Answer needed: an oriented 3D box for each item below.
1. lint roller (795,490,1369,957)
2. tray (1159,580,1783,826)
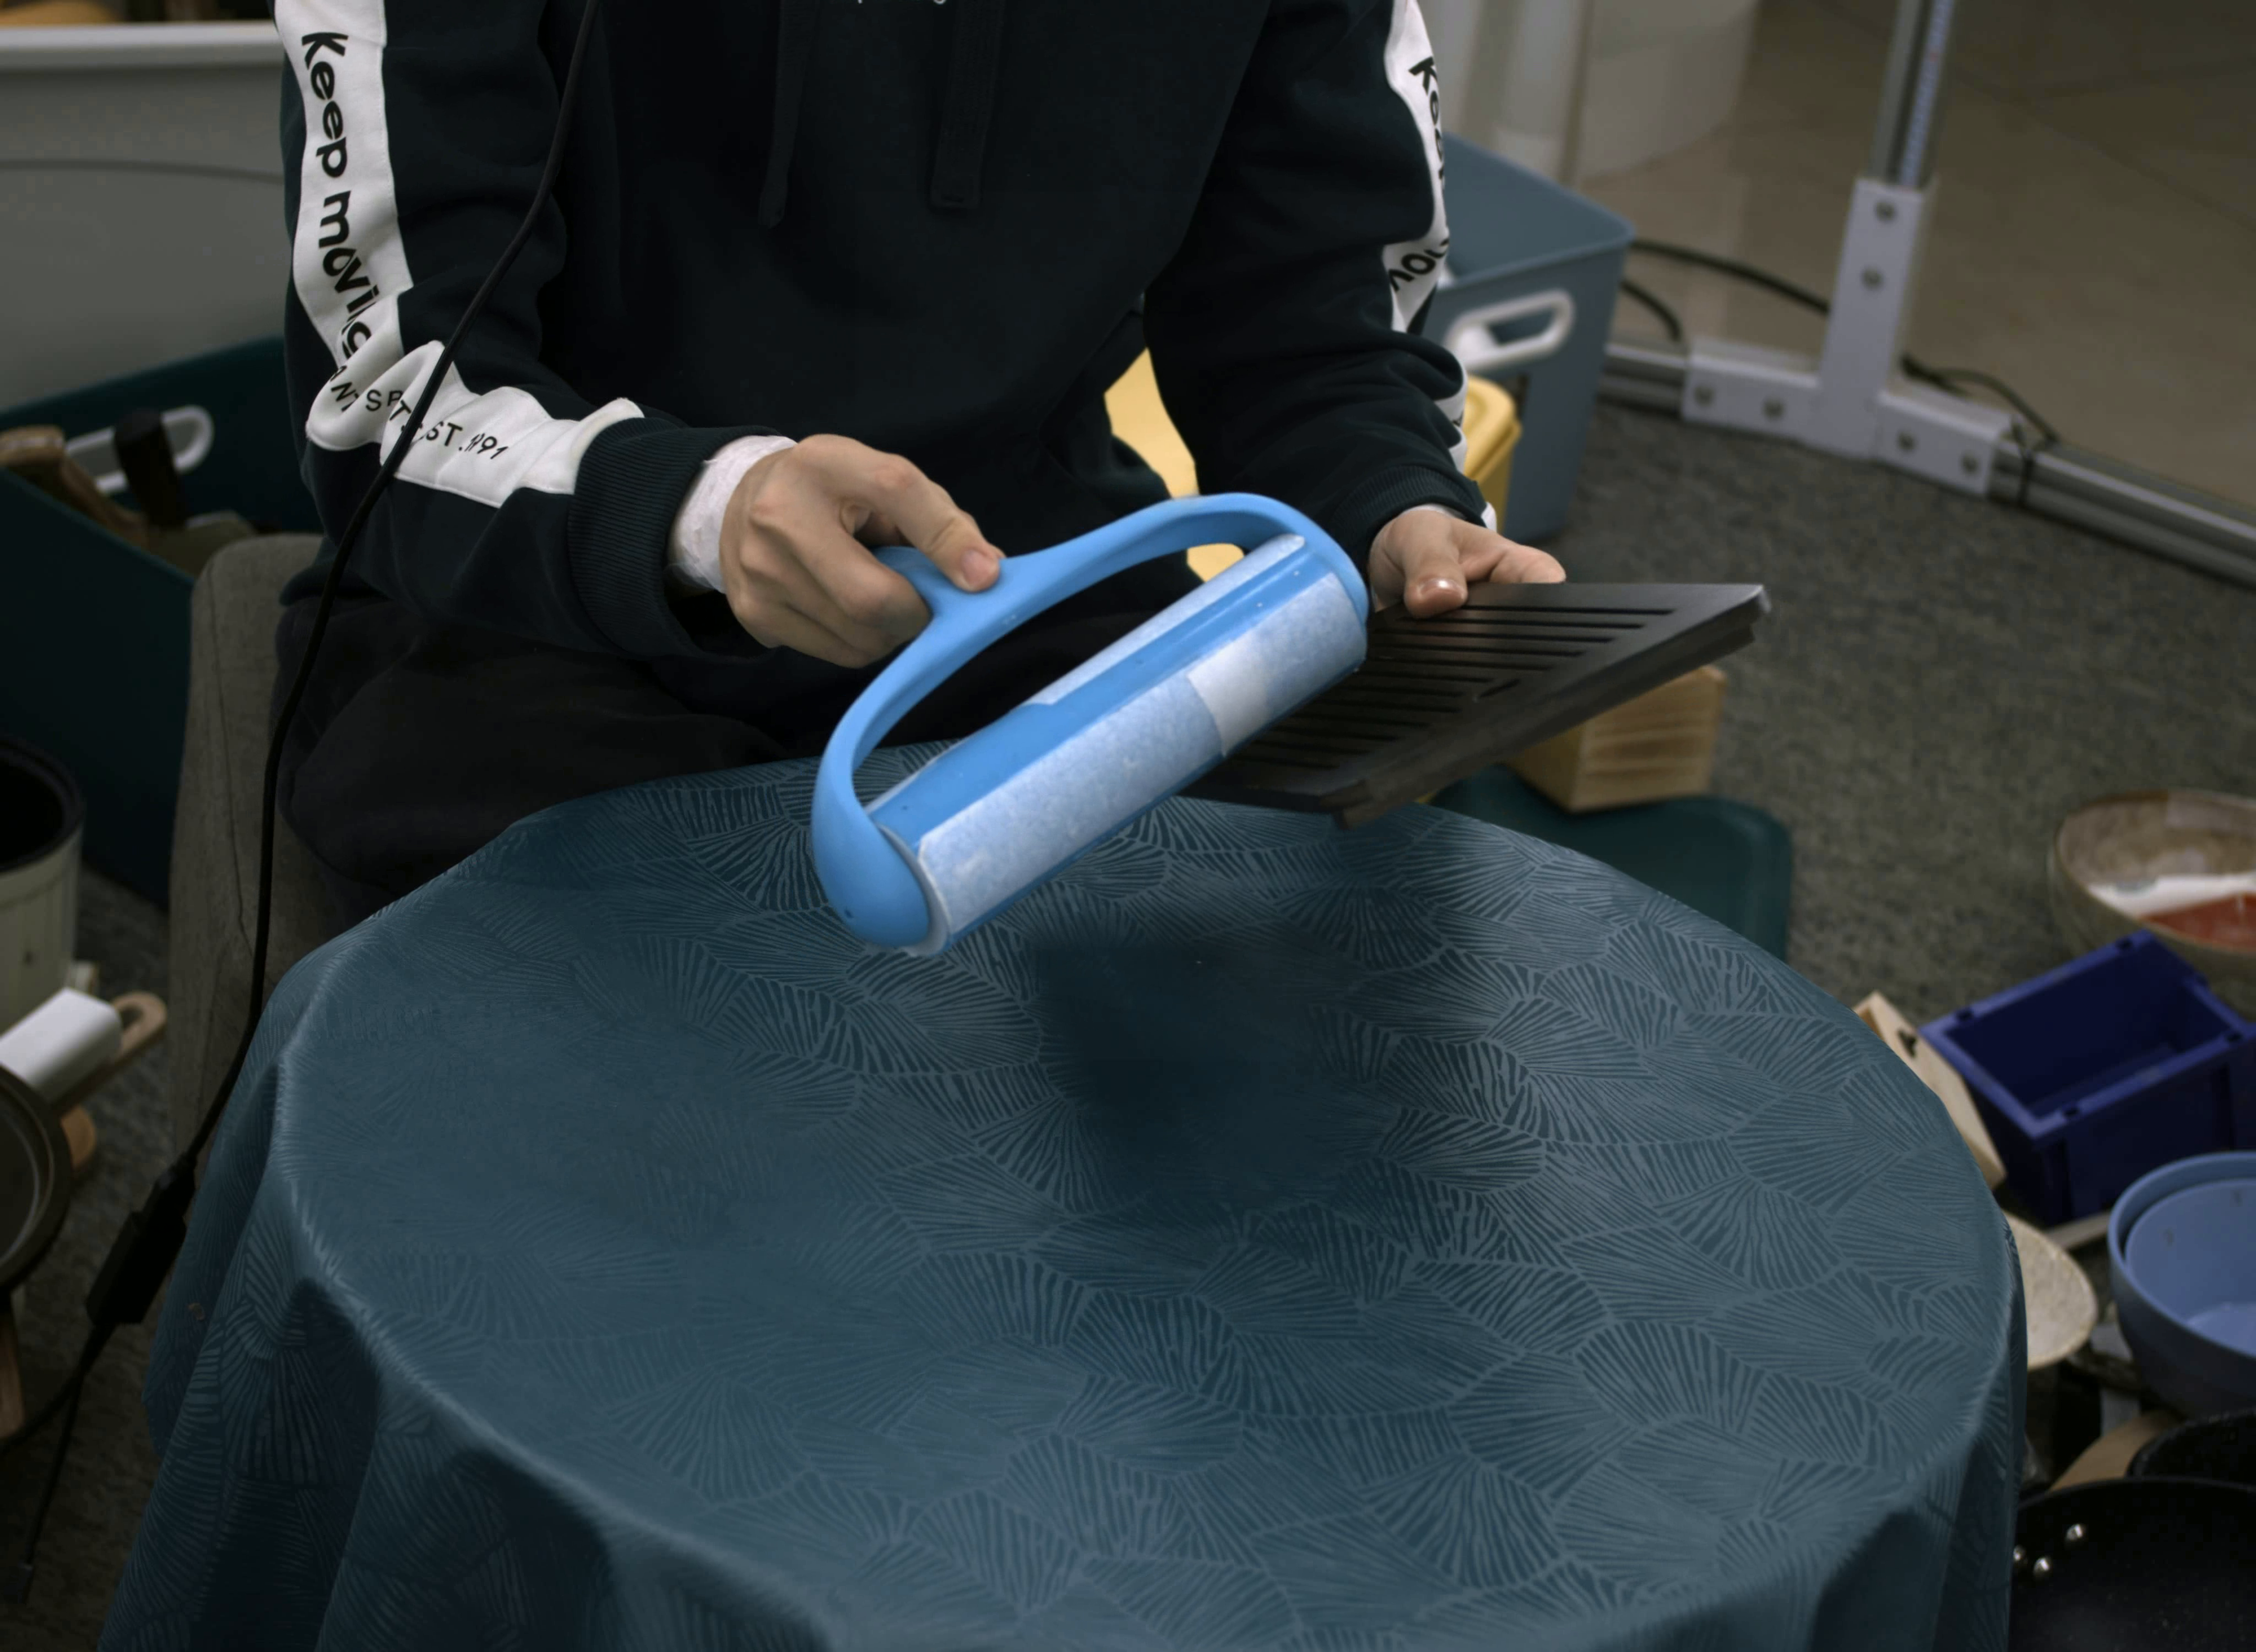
[{"bbox_3d":[-0.050,-0.057,1.775,0.181,0.067,0.228,32,55,32],"label":"lint roller"},{"bbox_3d":[0.095,-0.044,1.839,0.169,0.018,0.307,-25,9,-15],"label":"tray"}]
